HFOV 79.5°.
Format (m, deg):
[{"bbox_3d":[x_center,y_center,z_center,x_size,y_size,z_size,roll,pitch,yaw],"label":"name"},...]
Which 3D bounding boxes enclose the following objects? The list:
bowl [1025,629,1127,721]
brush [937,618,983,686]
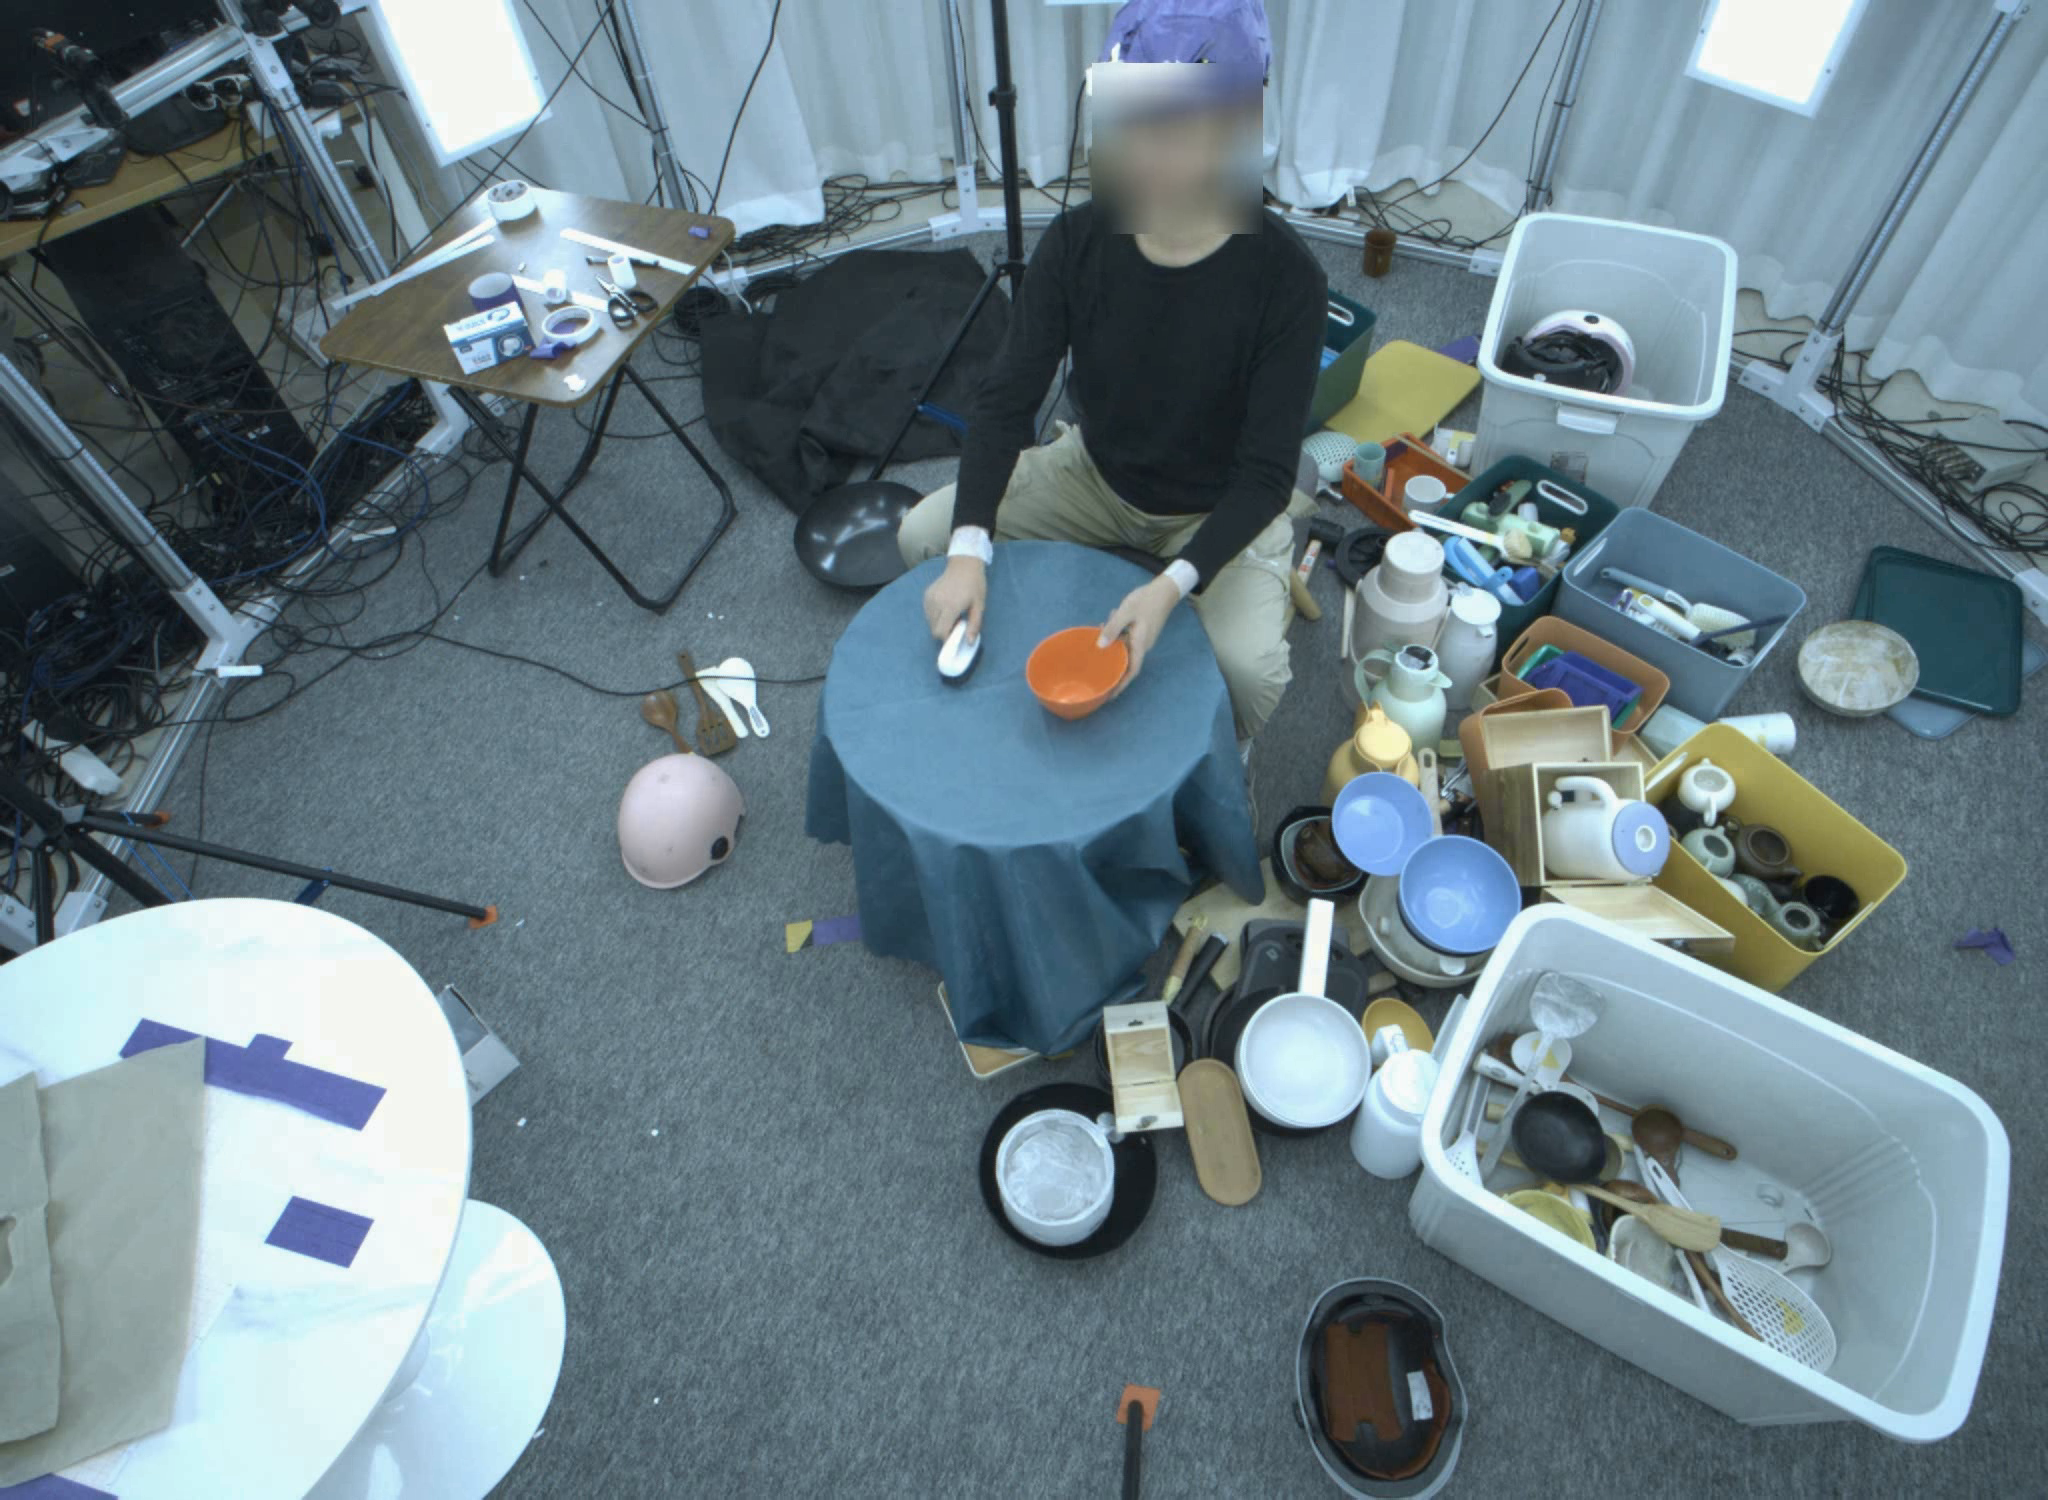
[{"bbox_3d":[0.077,-0.097,1.794,0.148,0.106,0.146,-1,53,3],"label":"bowl"},{"bbox_3d":[-0.099,-0.156,1.856,0.049,0.073,0.099,16,57,16],"label":"brush"}]
